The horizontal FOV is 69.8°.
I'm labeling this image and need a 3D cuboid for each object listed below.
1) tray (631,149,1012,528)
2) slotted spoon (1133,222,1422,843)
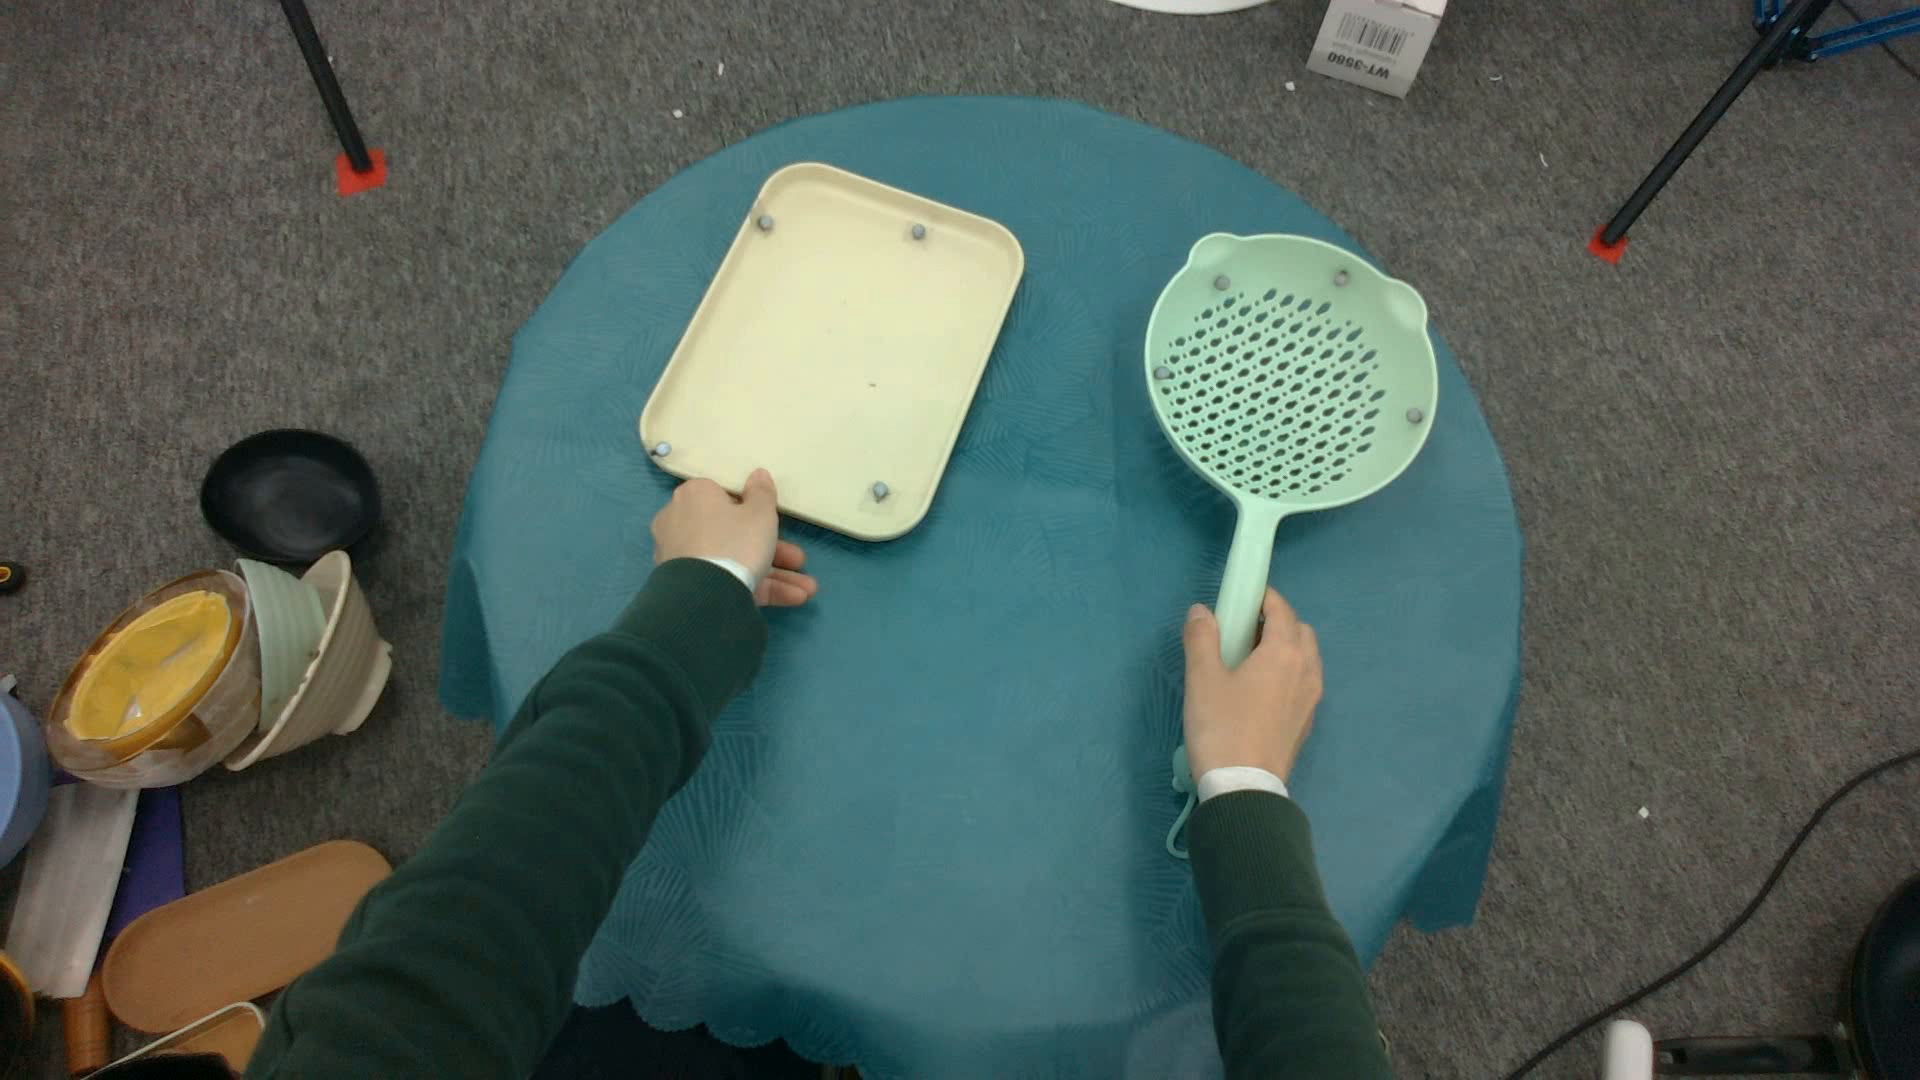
[{"bbox_3d":[-0.076,-0.124,0.813,0.171,0.017,0.240,19,63,3],"label":"tray"},{"bbox_3d":[0.155,-0.013,0.760,0.169,0.075,0.360,16,62,0],"label":"slotted spoon"}]
